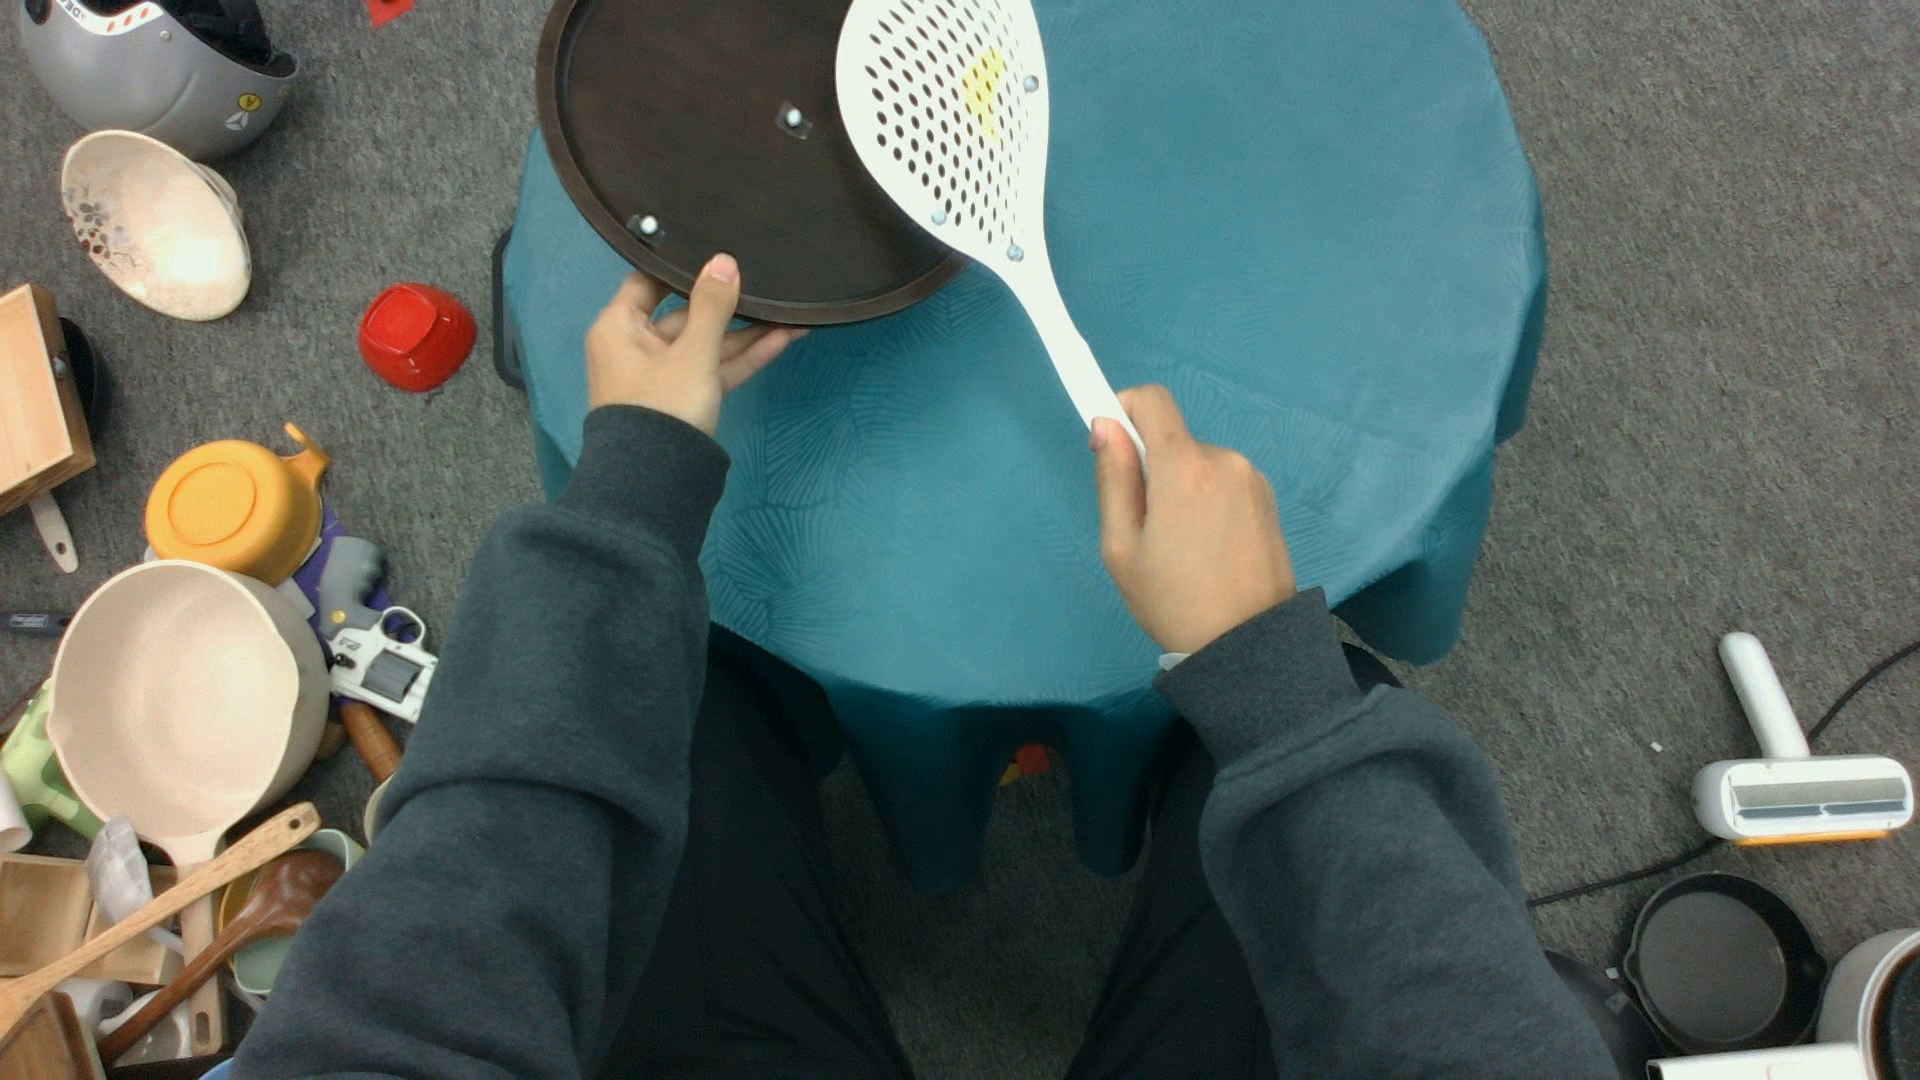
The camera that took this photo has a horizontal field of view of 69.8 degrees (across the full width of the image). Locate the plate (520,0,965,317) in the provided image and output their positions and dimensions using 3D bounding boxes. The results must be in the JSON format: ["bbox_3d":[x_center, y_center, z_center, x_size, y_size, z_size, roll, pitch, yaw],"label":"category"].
[{"bbox_3d":[-0.102,-0.233,0.732,0.255,0.029,0.255,5,72,-17],"label":"plate"}]

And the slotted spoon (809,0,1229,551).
[{"bbox_3d":[0.031,-0.146,0.649,0.136,0.050,0.348,-35,71,38],"label":"slotted spoon"}]
